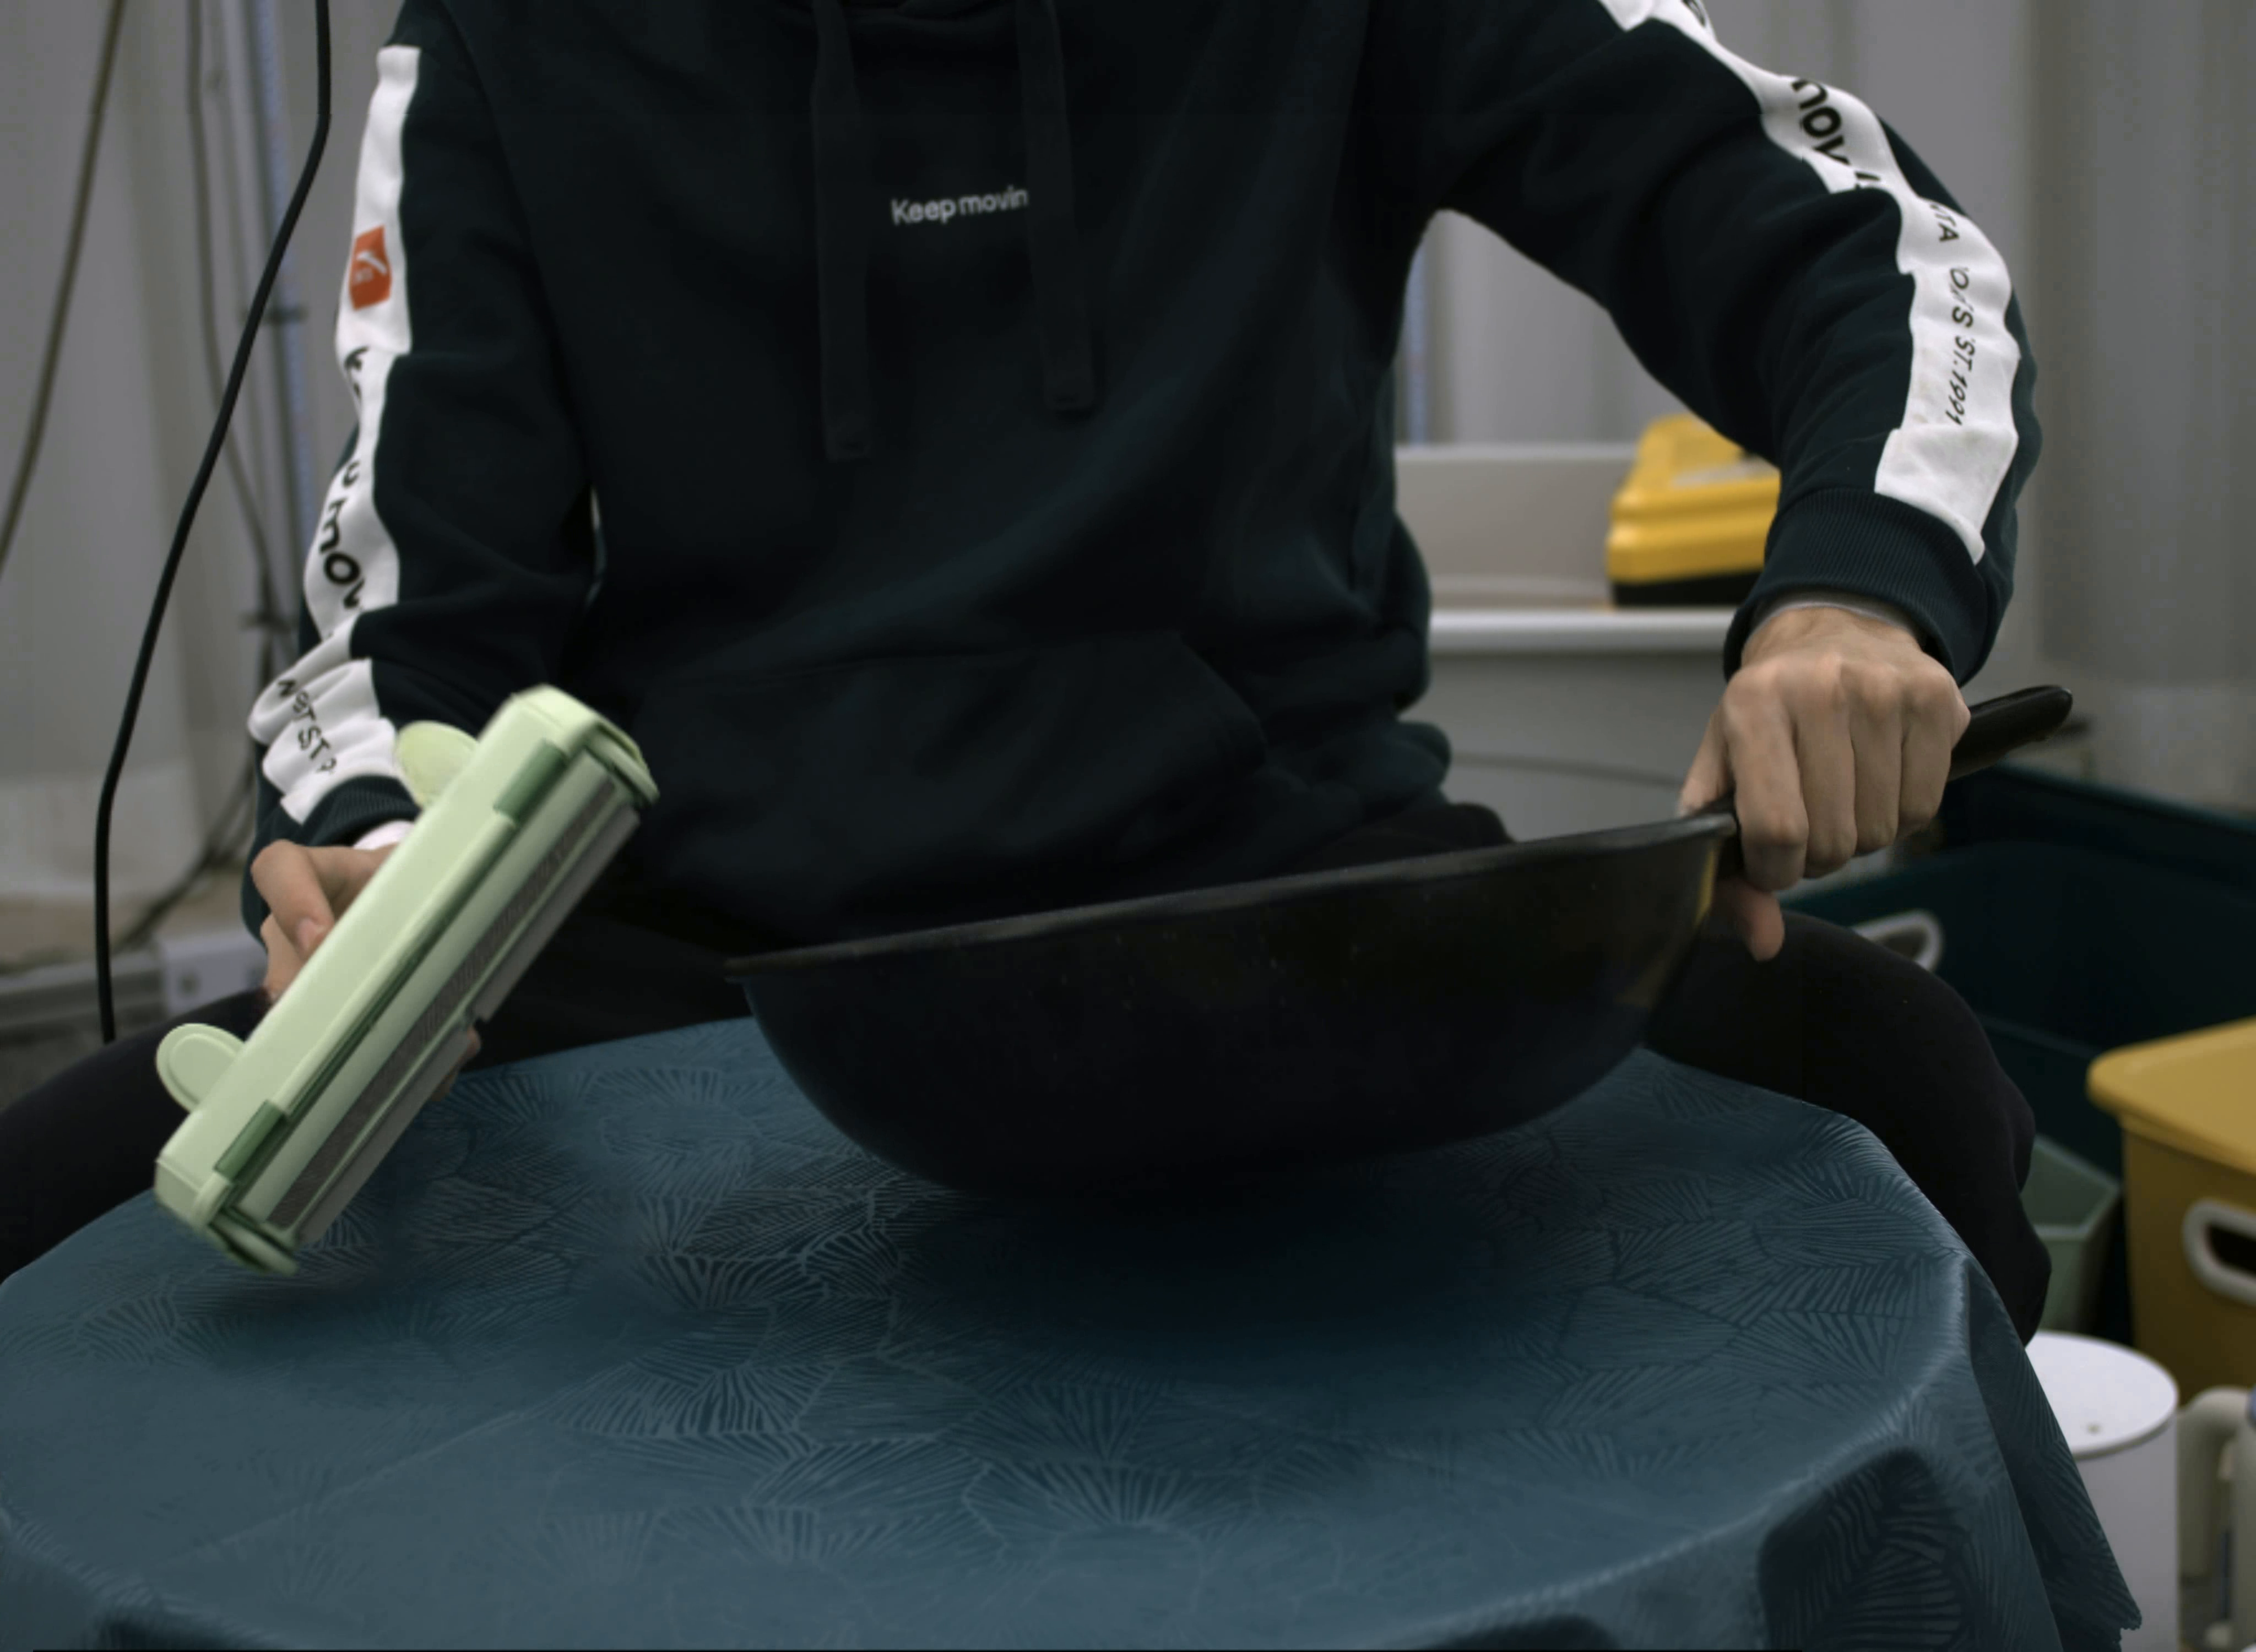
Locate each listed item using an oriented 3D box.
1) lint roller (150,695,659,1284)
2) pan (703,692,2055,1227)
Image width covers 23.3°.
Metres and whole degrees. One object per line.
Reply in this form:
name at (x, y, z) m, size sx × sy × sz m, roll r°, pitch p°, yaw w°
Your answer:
lint roller at (-0.238, 0.045, 1.713) m, size 0.082 × 0.199 × 0.183 m, roll 40°, pitch -10°, yaw -11°
pan at (0.101, 0.043, 1.684) m, size 0.475 × 0.112 × 0.310 m, roll -9°, pitch 1°, yaw -29°
